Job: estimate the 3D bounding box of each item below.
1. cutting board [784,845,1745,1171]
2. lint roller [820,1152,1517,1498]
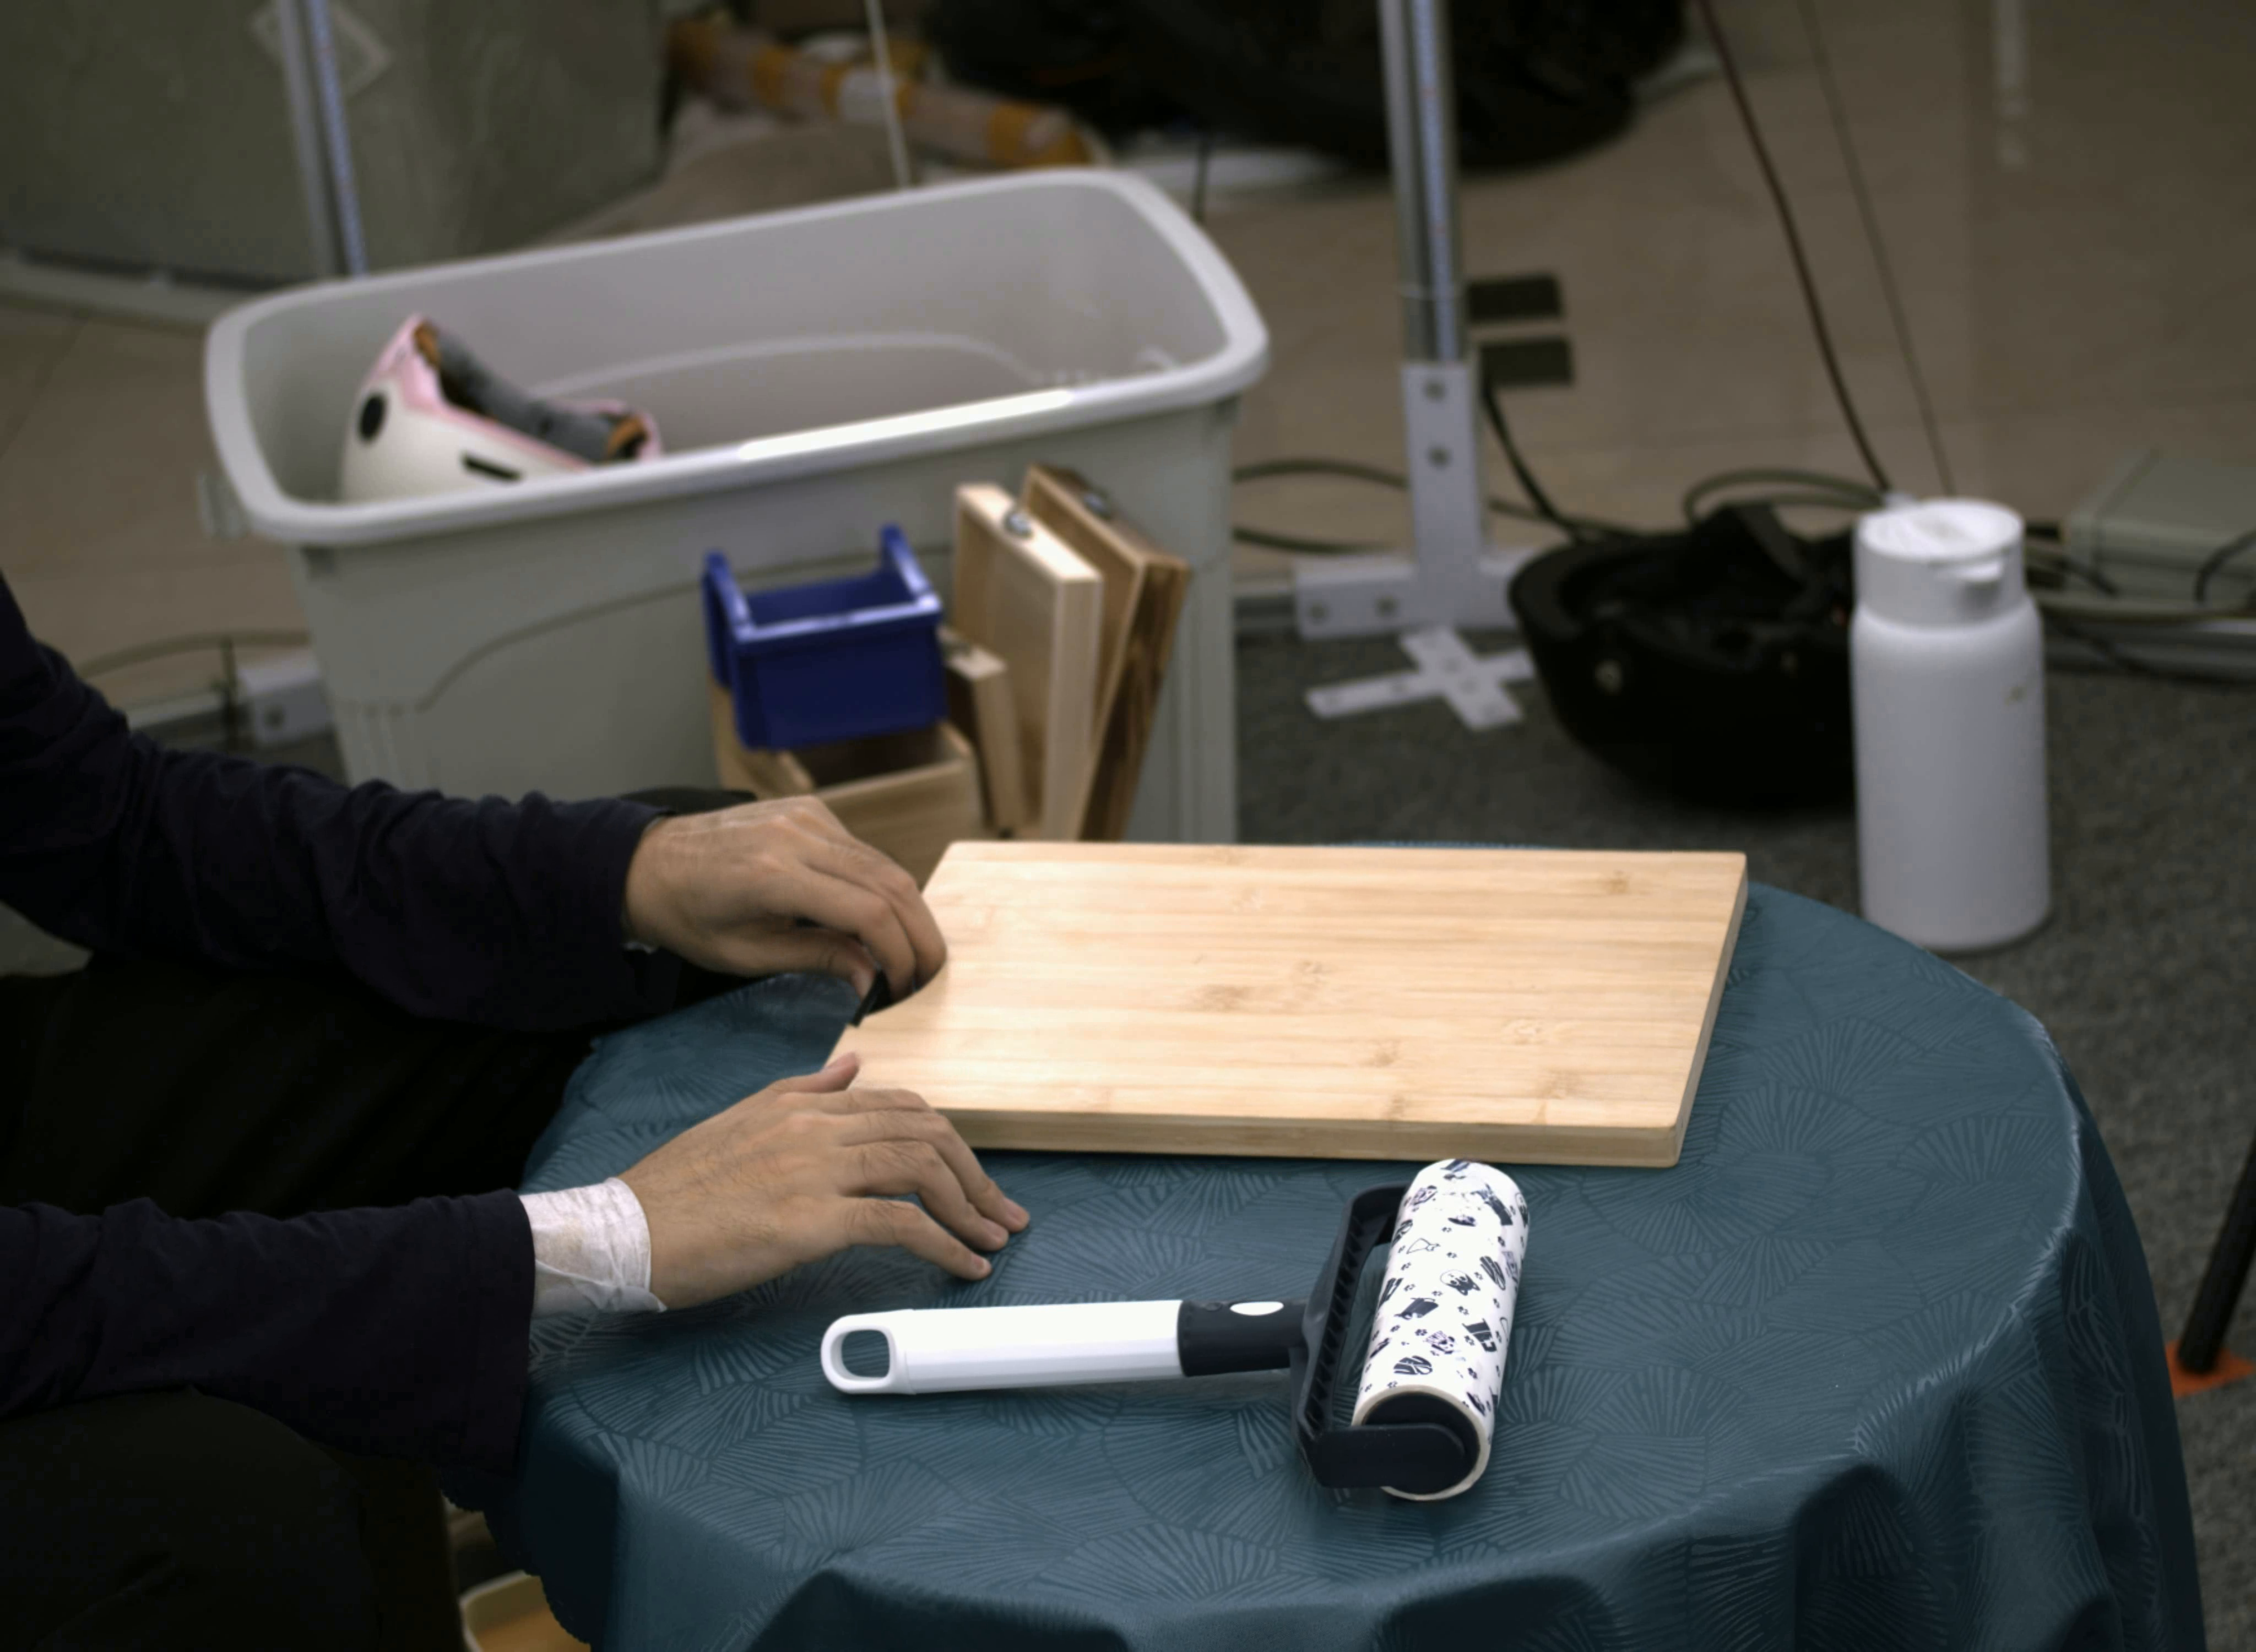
[{"bbox_3d":[0.060,0.069,2.263,0.348,0.024,0.247,0,25,13],"label":"cutting board"},{"bbox_3d":[0.009,0.182,2.008,0.247,0.051,0.173,-4,26,11],"label":"lint roller"}]
